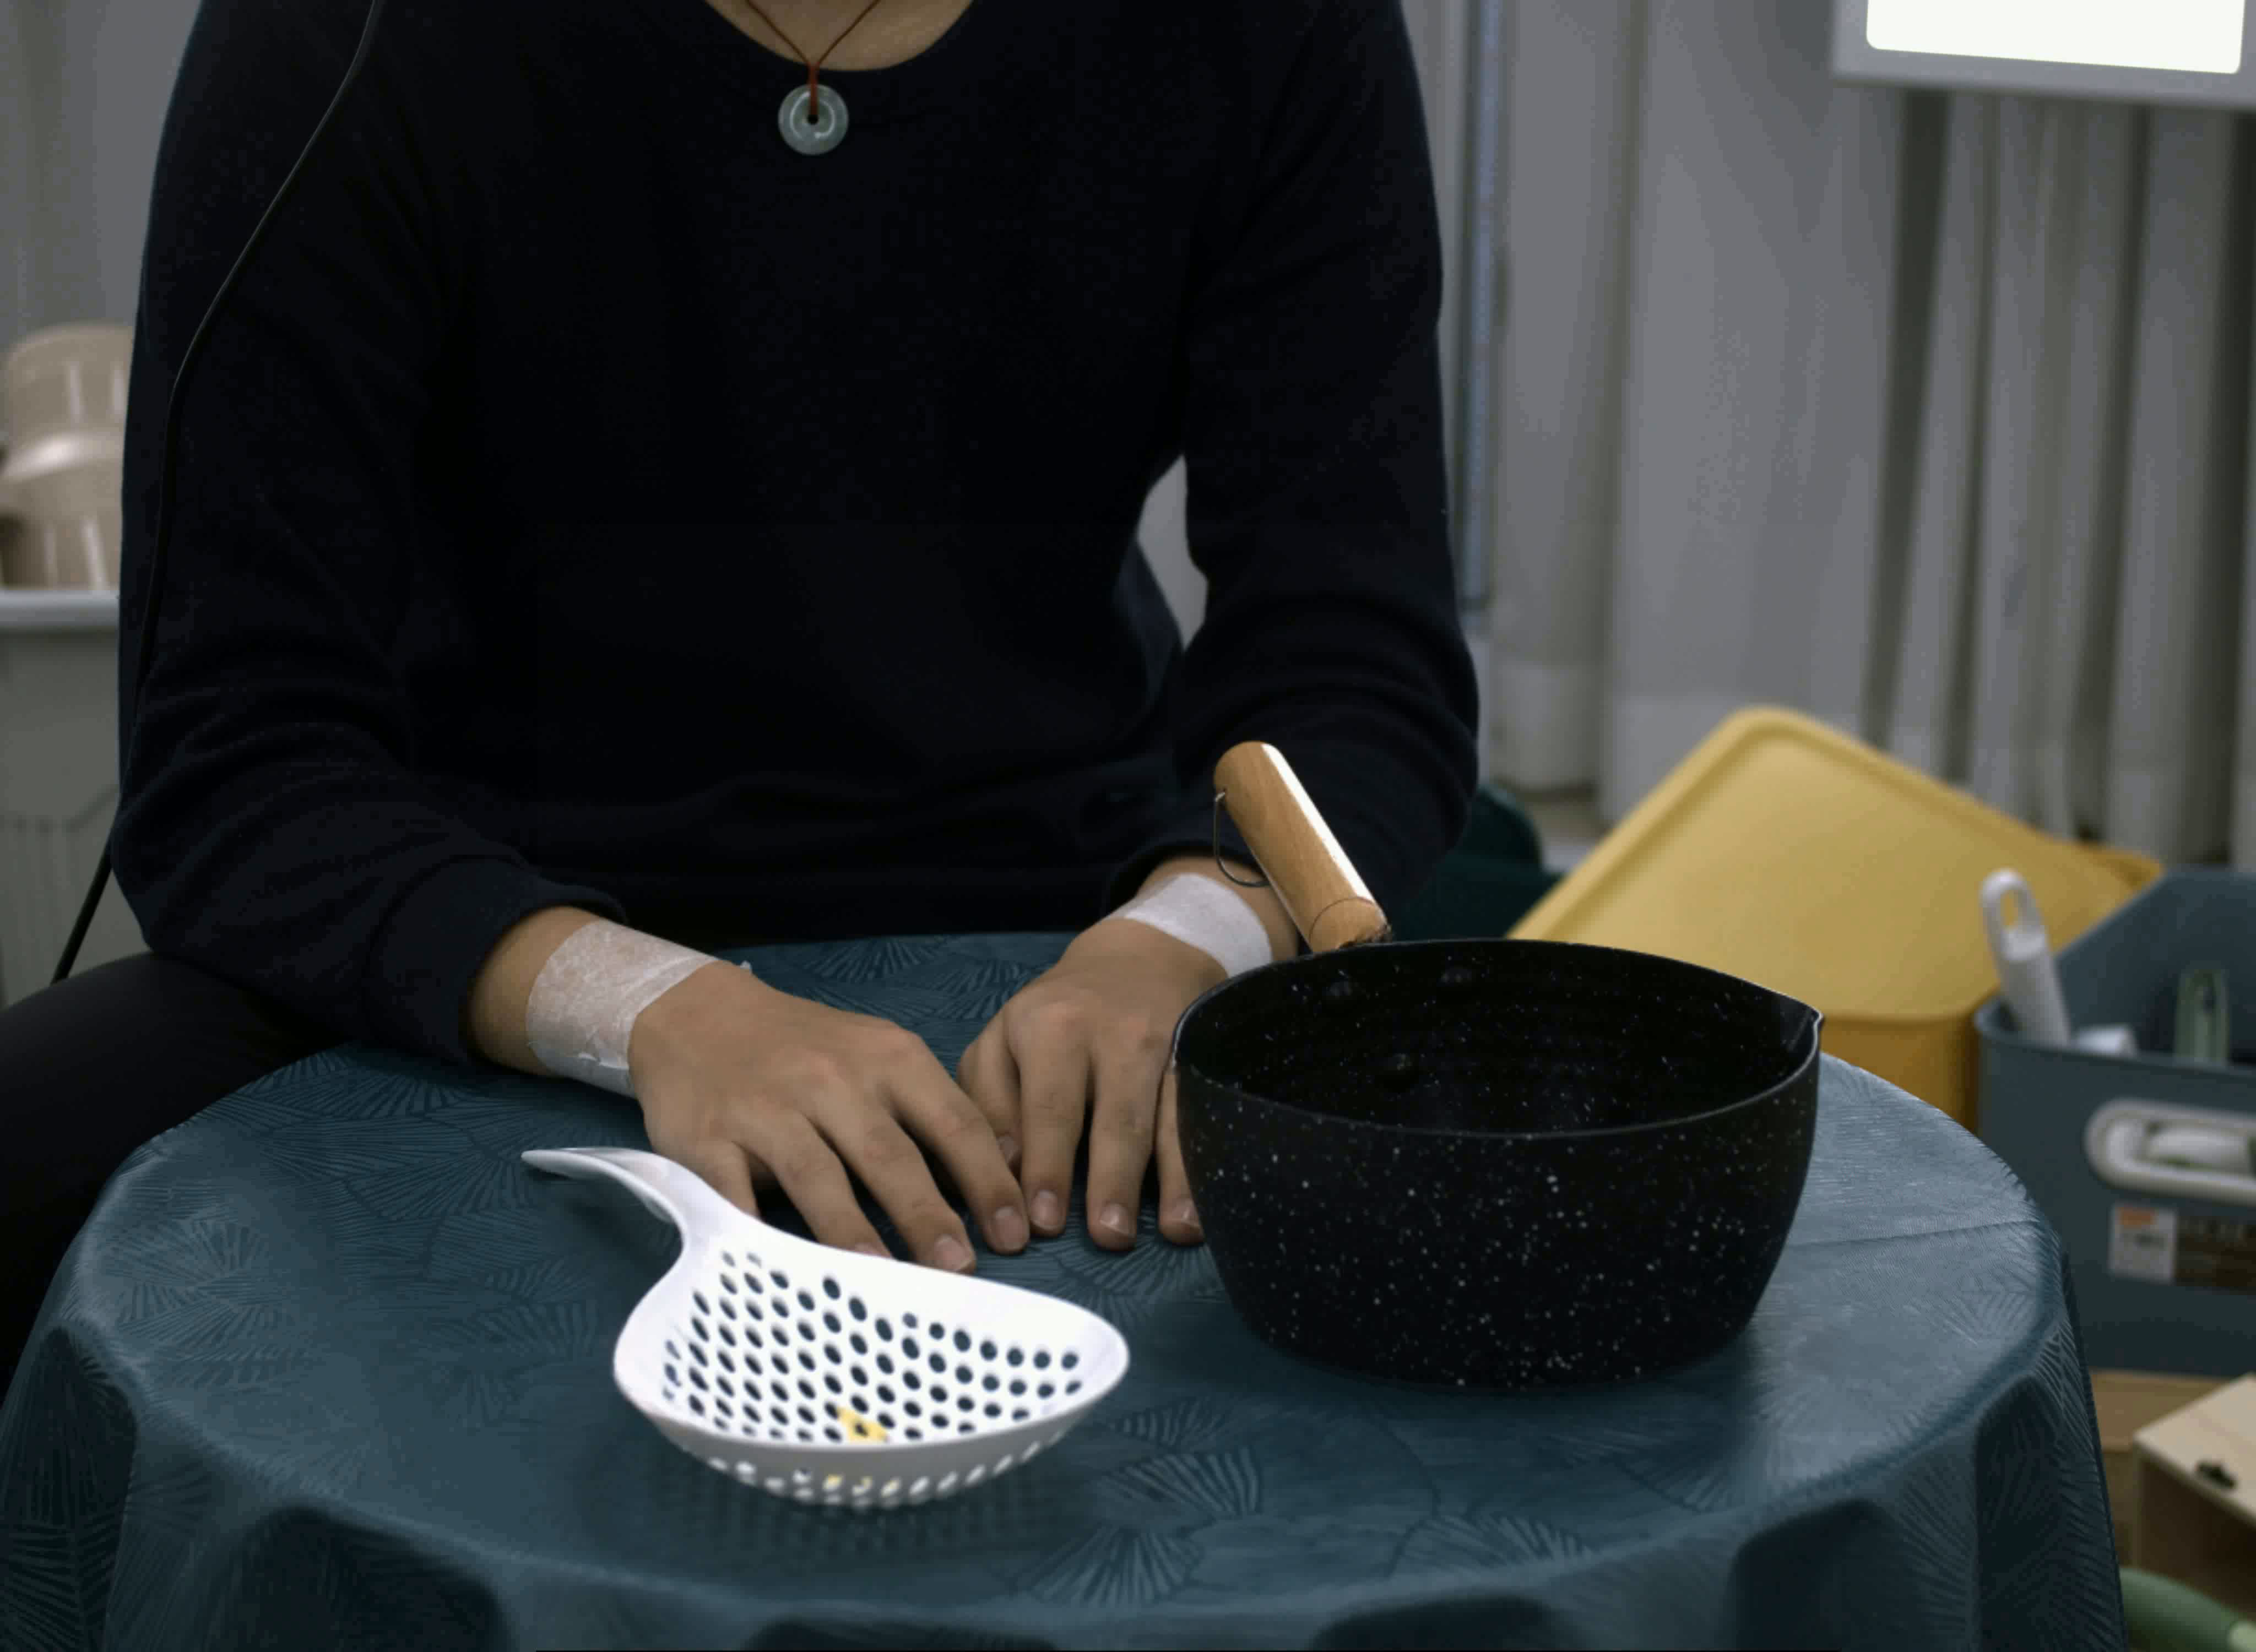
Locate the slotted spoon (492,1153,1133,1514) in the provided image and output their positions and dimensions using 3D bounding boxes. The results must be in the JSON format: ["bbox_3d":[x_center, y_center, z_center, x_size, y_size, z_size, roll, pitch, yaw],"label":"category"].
[{"bbox_3d":[-0.113,0.128,1.483,0.137,0.051,0.343,-8,19,-23],"label":"slotted spoon"}]

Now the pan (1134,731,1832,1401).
[{"bbox_3d":[0.083,0.067,1.587,0.208,0.109,0.339,-6,18,-16],"label":"pan"}]
